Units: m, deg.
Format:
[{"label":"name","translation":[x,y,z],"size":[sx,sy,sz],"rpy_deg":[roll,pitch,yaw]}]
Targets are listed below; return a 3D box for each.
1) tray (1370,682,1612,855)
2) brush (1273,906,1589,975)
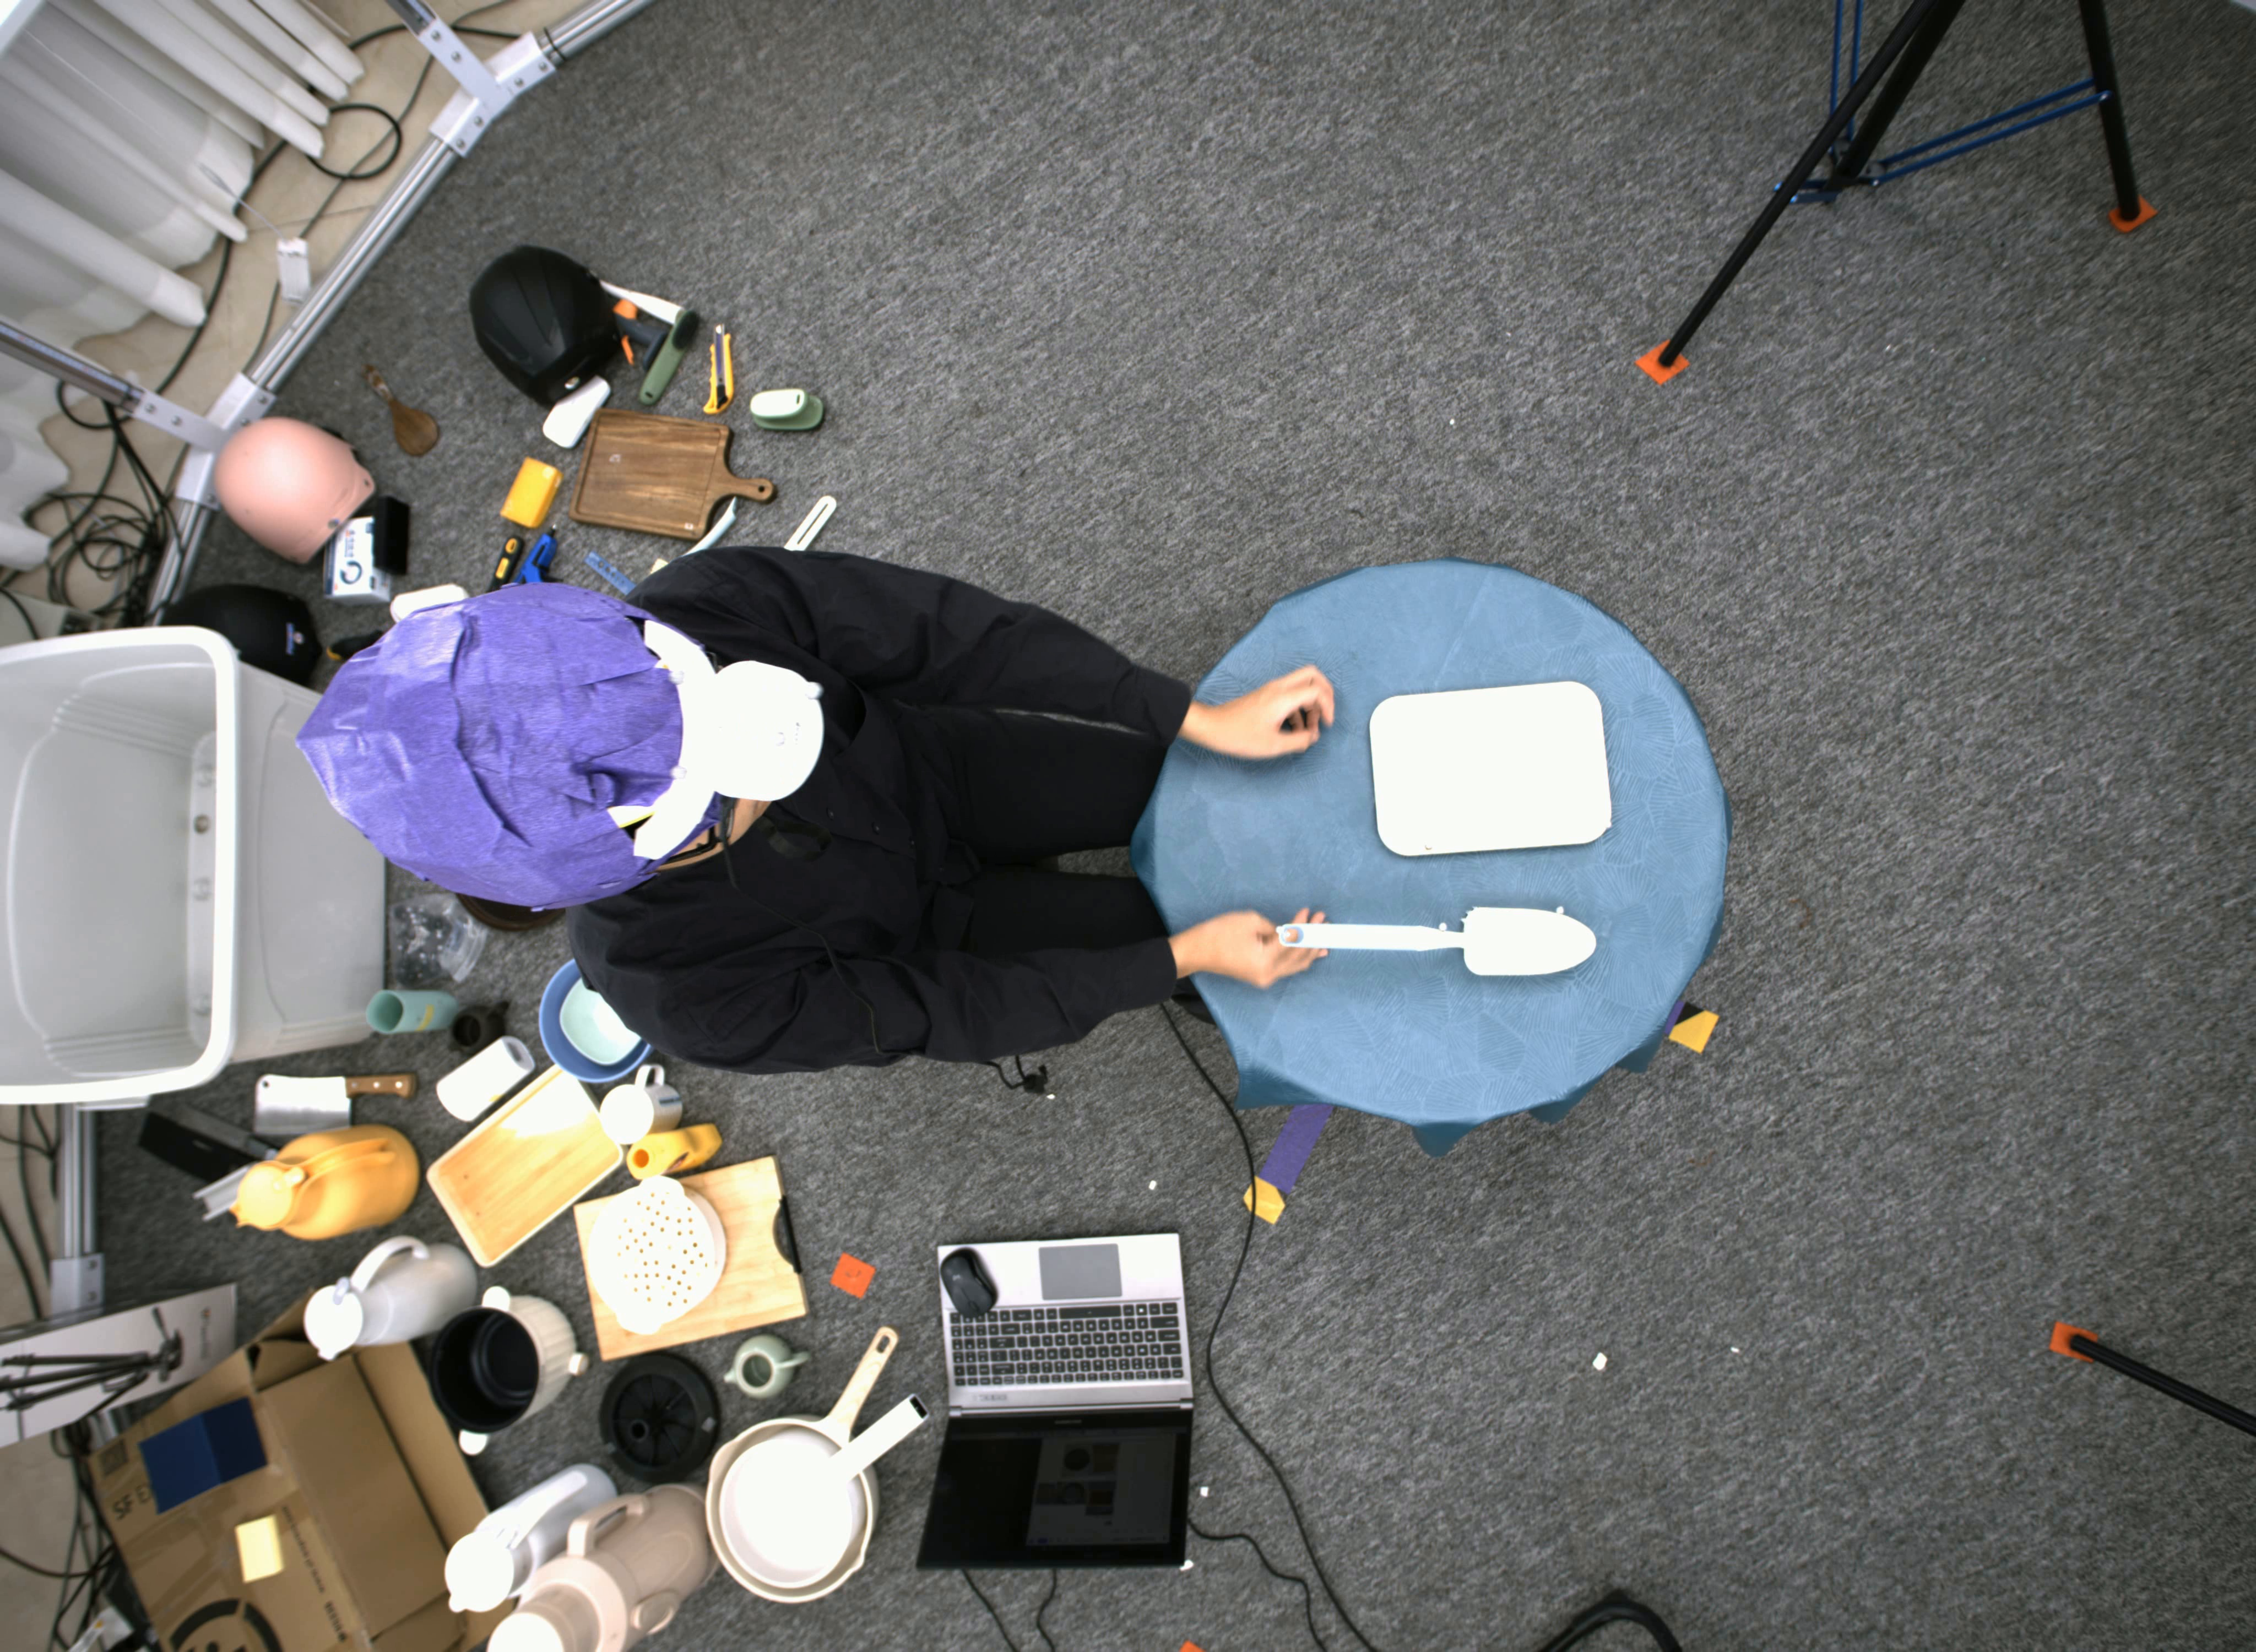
[{"label":"tray","translation":[0.378,-0.061,1.437],"size":[0.241,0.017,0.170],"rpy_deg":[-4,86,10]},{"label":"brush","translation":[0.305,0.109,1.407],"size":[0.326,0.087,0.081],"rpy_deg":[2,49,-2]}]
